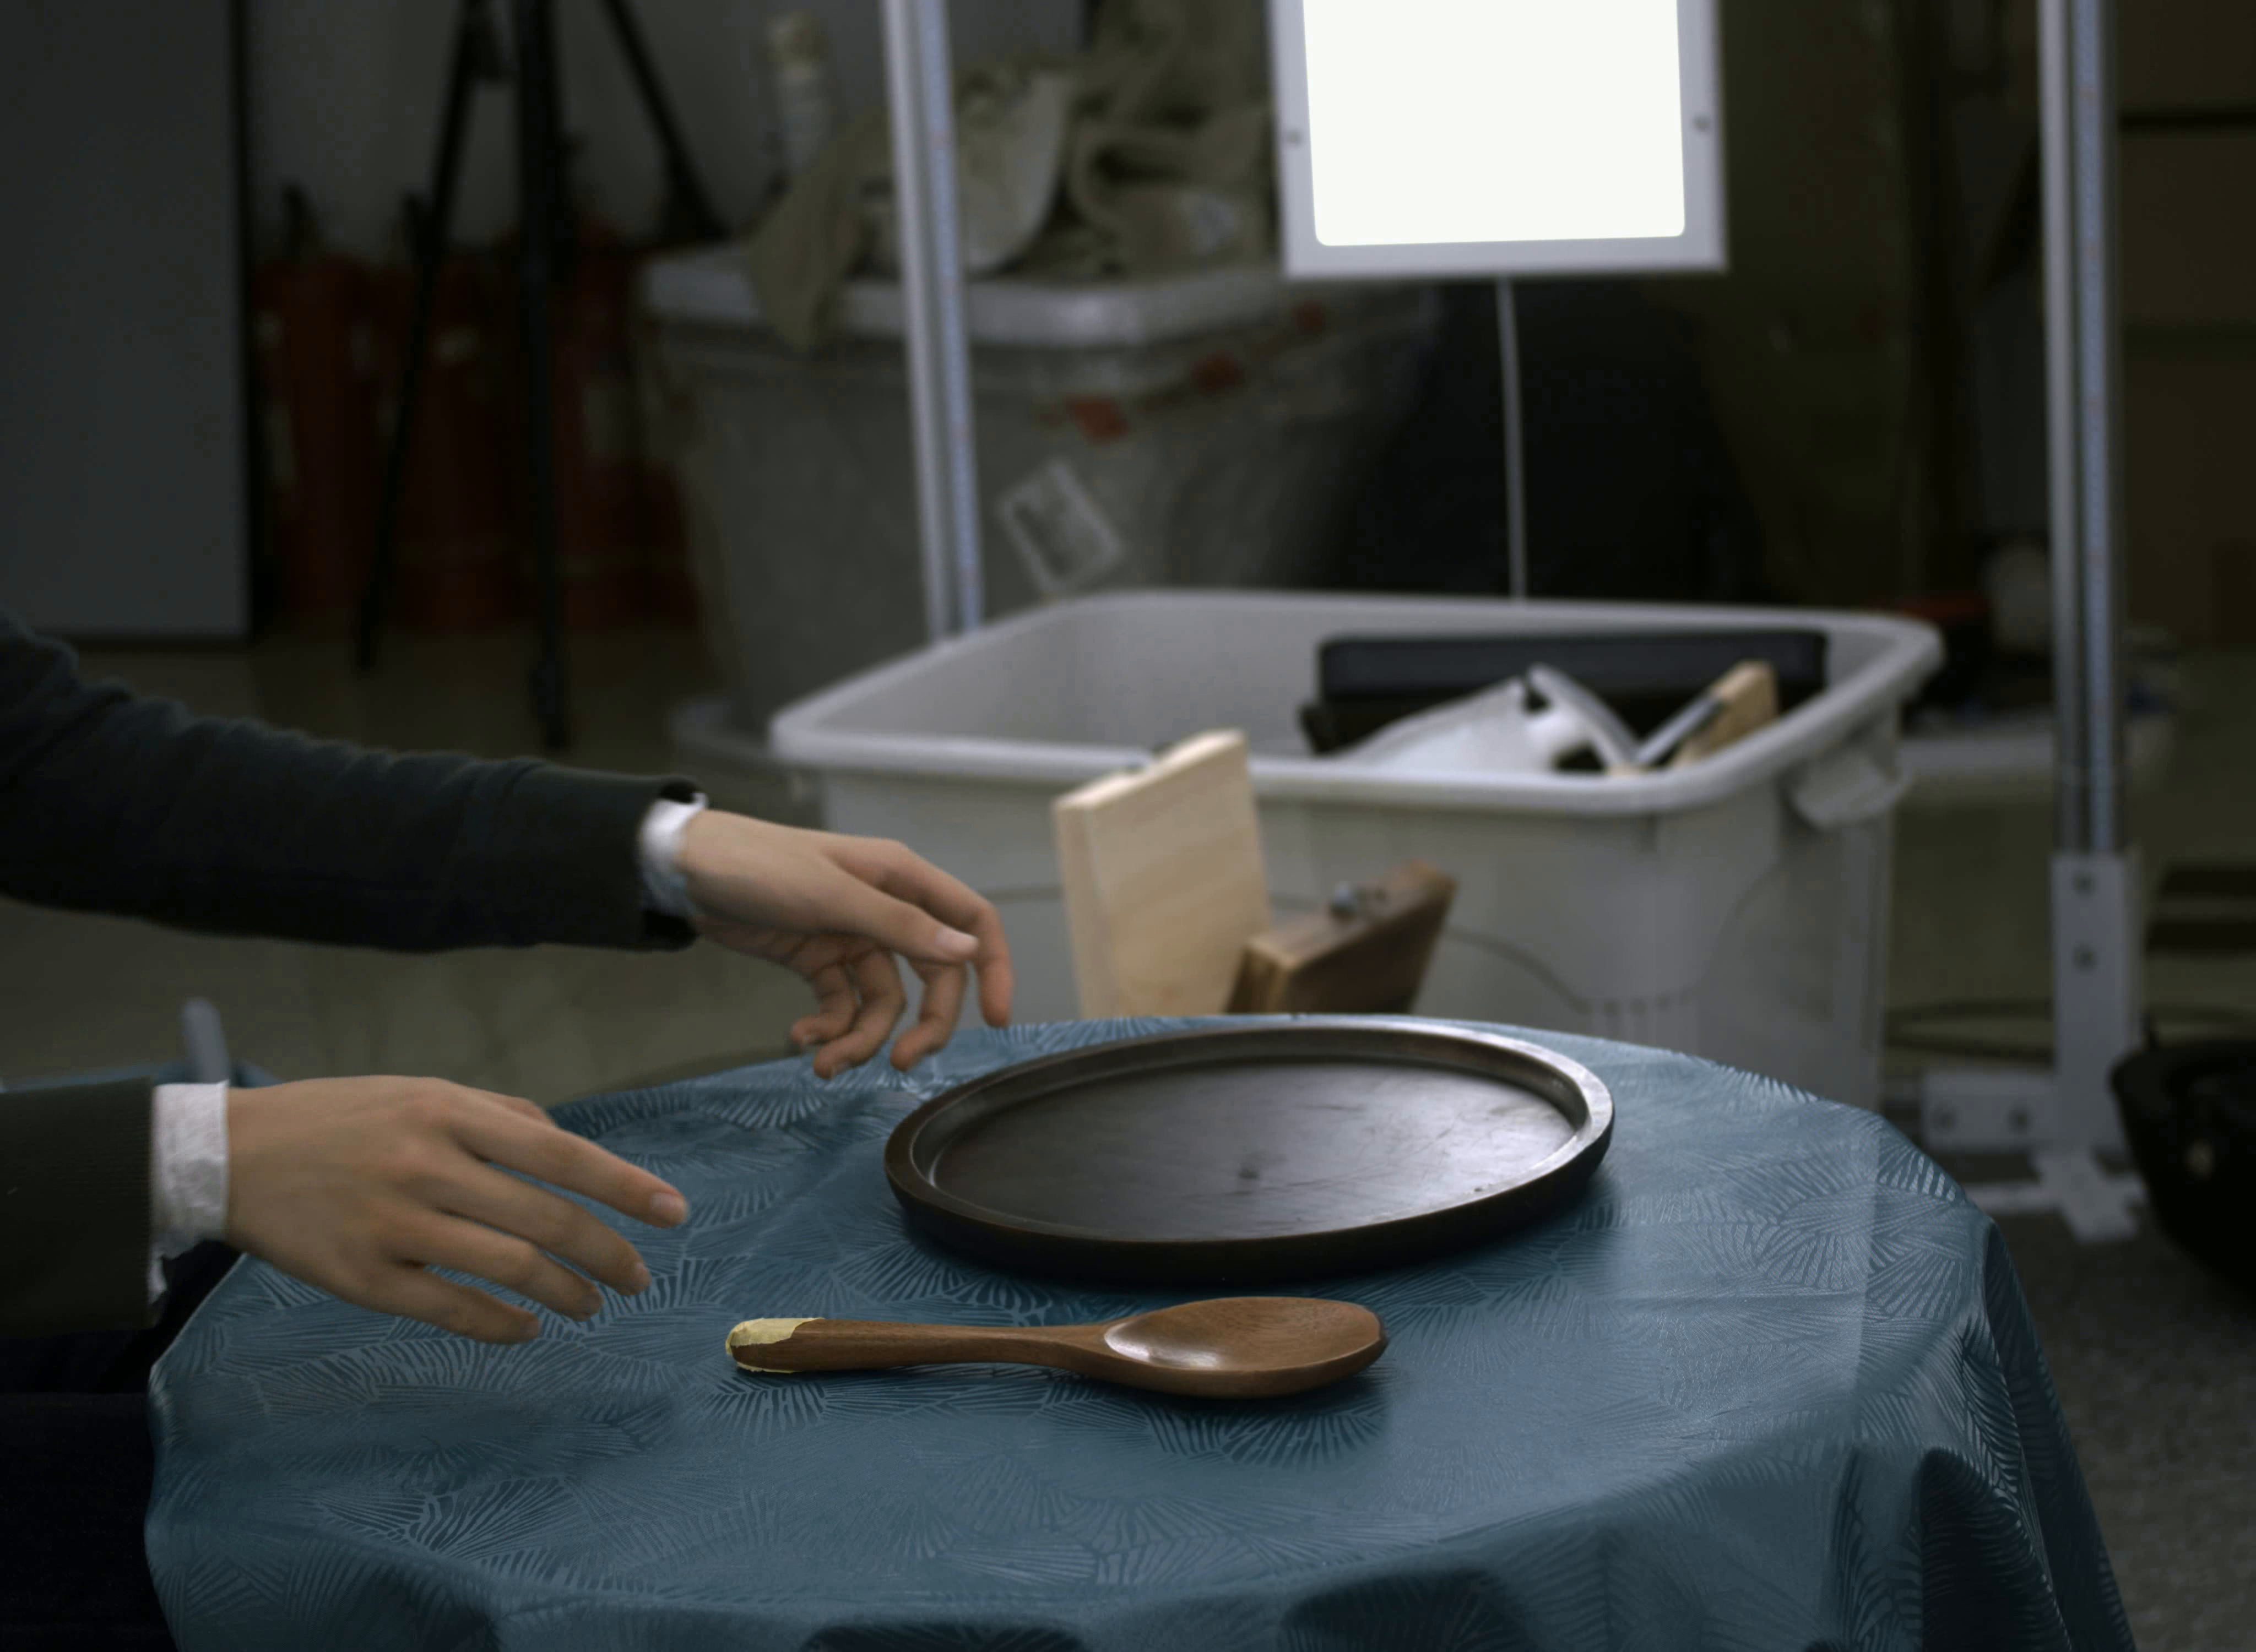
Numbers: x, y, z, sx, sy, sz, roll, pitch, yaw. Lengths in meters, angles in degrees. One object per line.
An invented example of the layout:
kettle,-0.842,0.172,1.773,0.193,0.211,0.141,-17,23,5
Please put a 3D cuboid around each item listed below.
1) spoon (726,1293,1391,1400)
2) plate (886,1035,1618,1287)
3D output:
spoon,-0.023,0.163,1.721,0.218,0.017,0.074,0,15,18
plate,0.043,0.112,1.894,0.254,0.029,0.254,-4,13,0
